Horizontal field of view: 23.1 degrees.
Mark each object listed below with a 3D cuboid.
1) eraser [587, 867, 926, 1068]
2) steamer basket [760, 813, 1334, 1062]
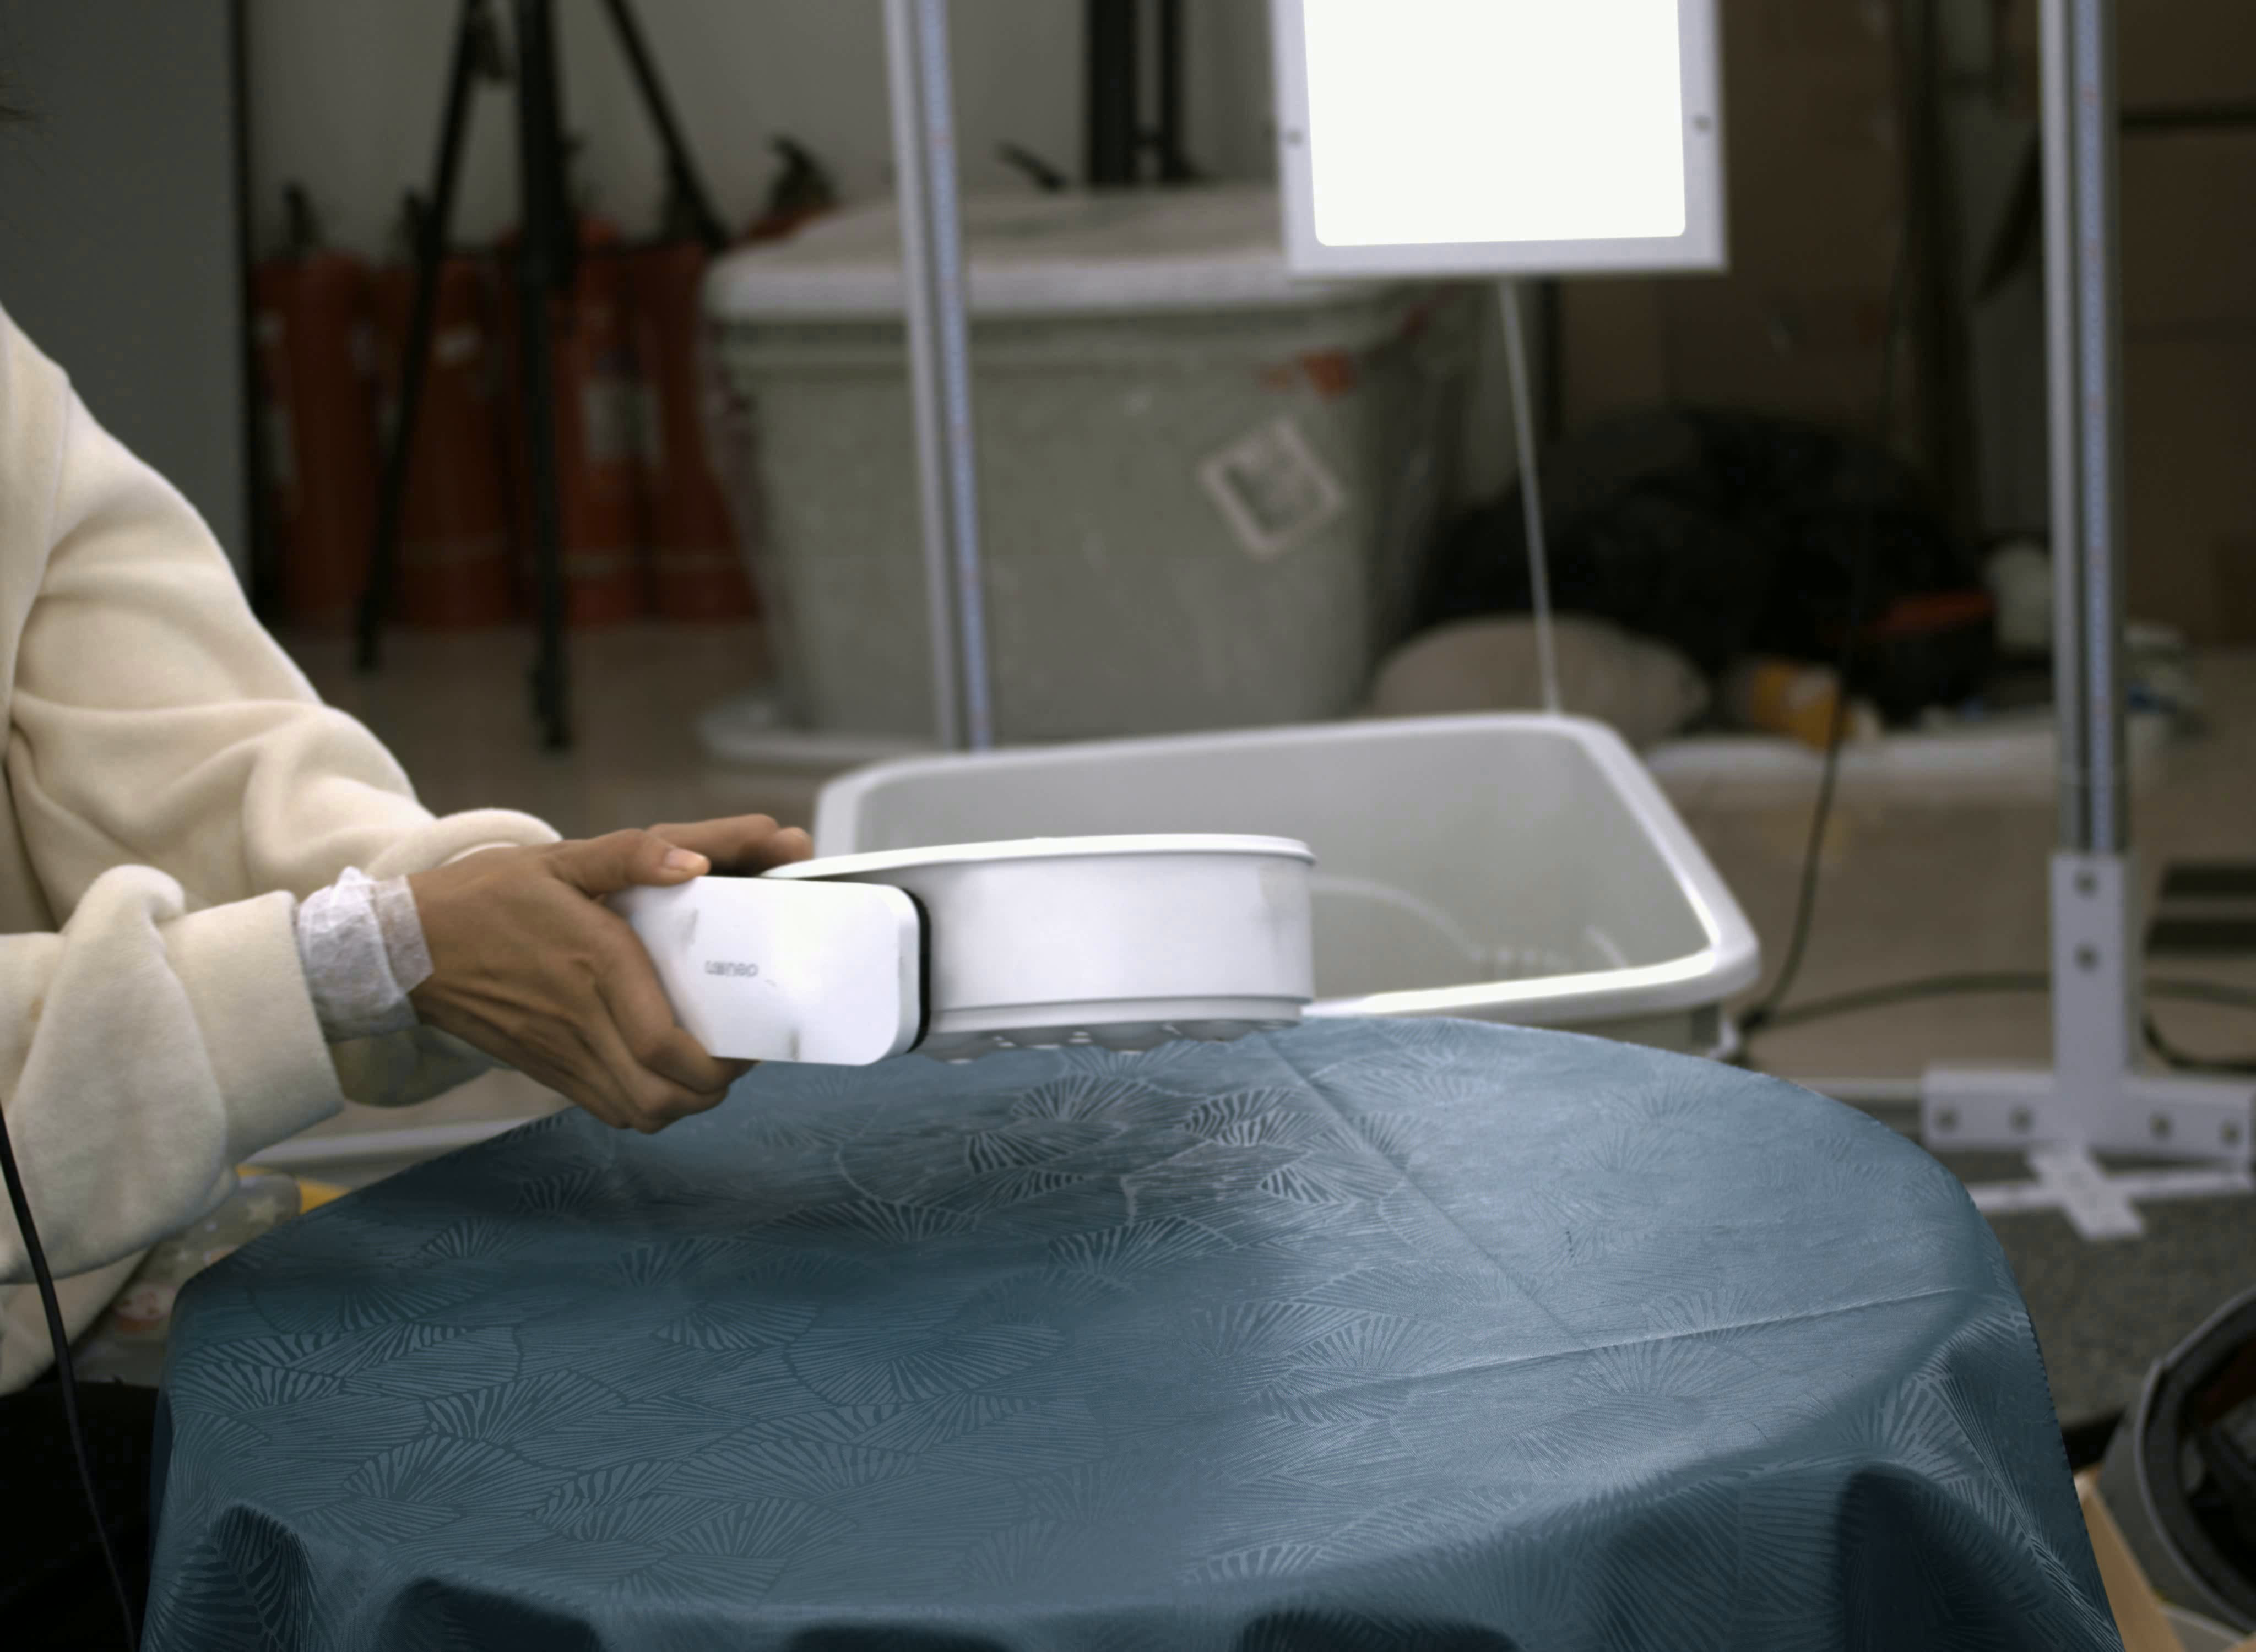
[{"bbox_3d":[-0.127,0.046,1.851,0.134,0.063,0.034,4,5,36],"label":"eraser"},{"bbox_3d":[-0.029,0.042,1.921,0.206,0.069,0.225,-4,-10,33],"label":"steamer basket"}]
